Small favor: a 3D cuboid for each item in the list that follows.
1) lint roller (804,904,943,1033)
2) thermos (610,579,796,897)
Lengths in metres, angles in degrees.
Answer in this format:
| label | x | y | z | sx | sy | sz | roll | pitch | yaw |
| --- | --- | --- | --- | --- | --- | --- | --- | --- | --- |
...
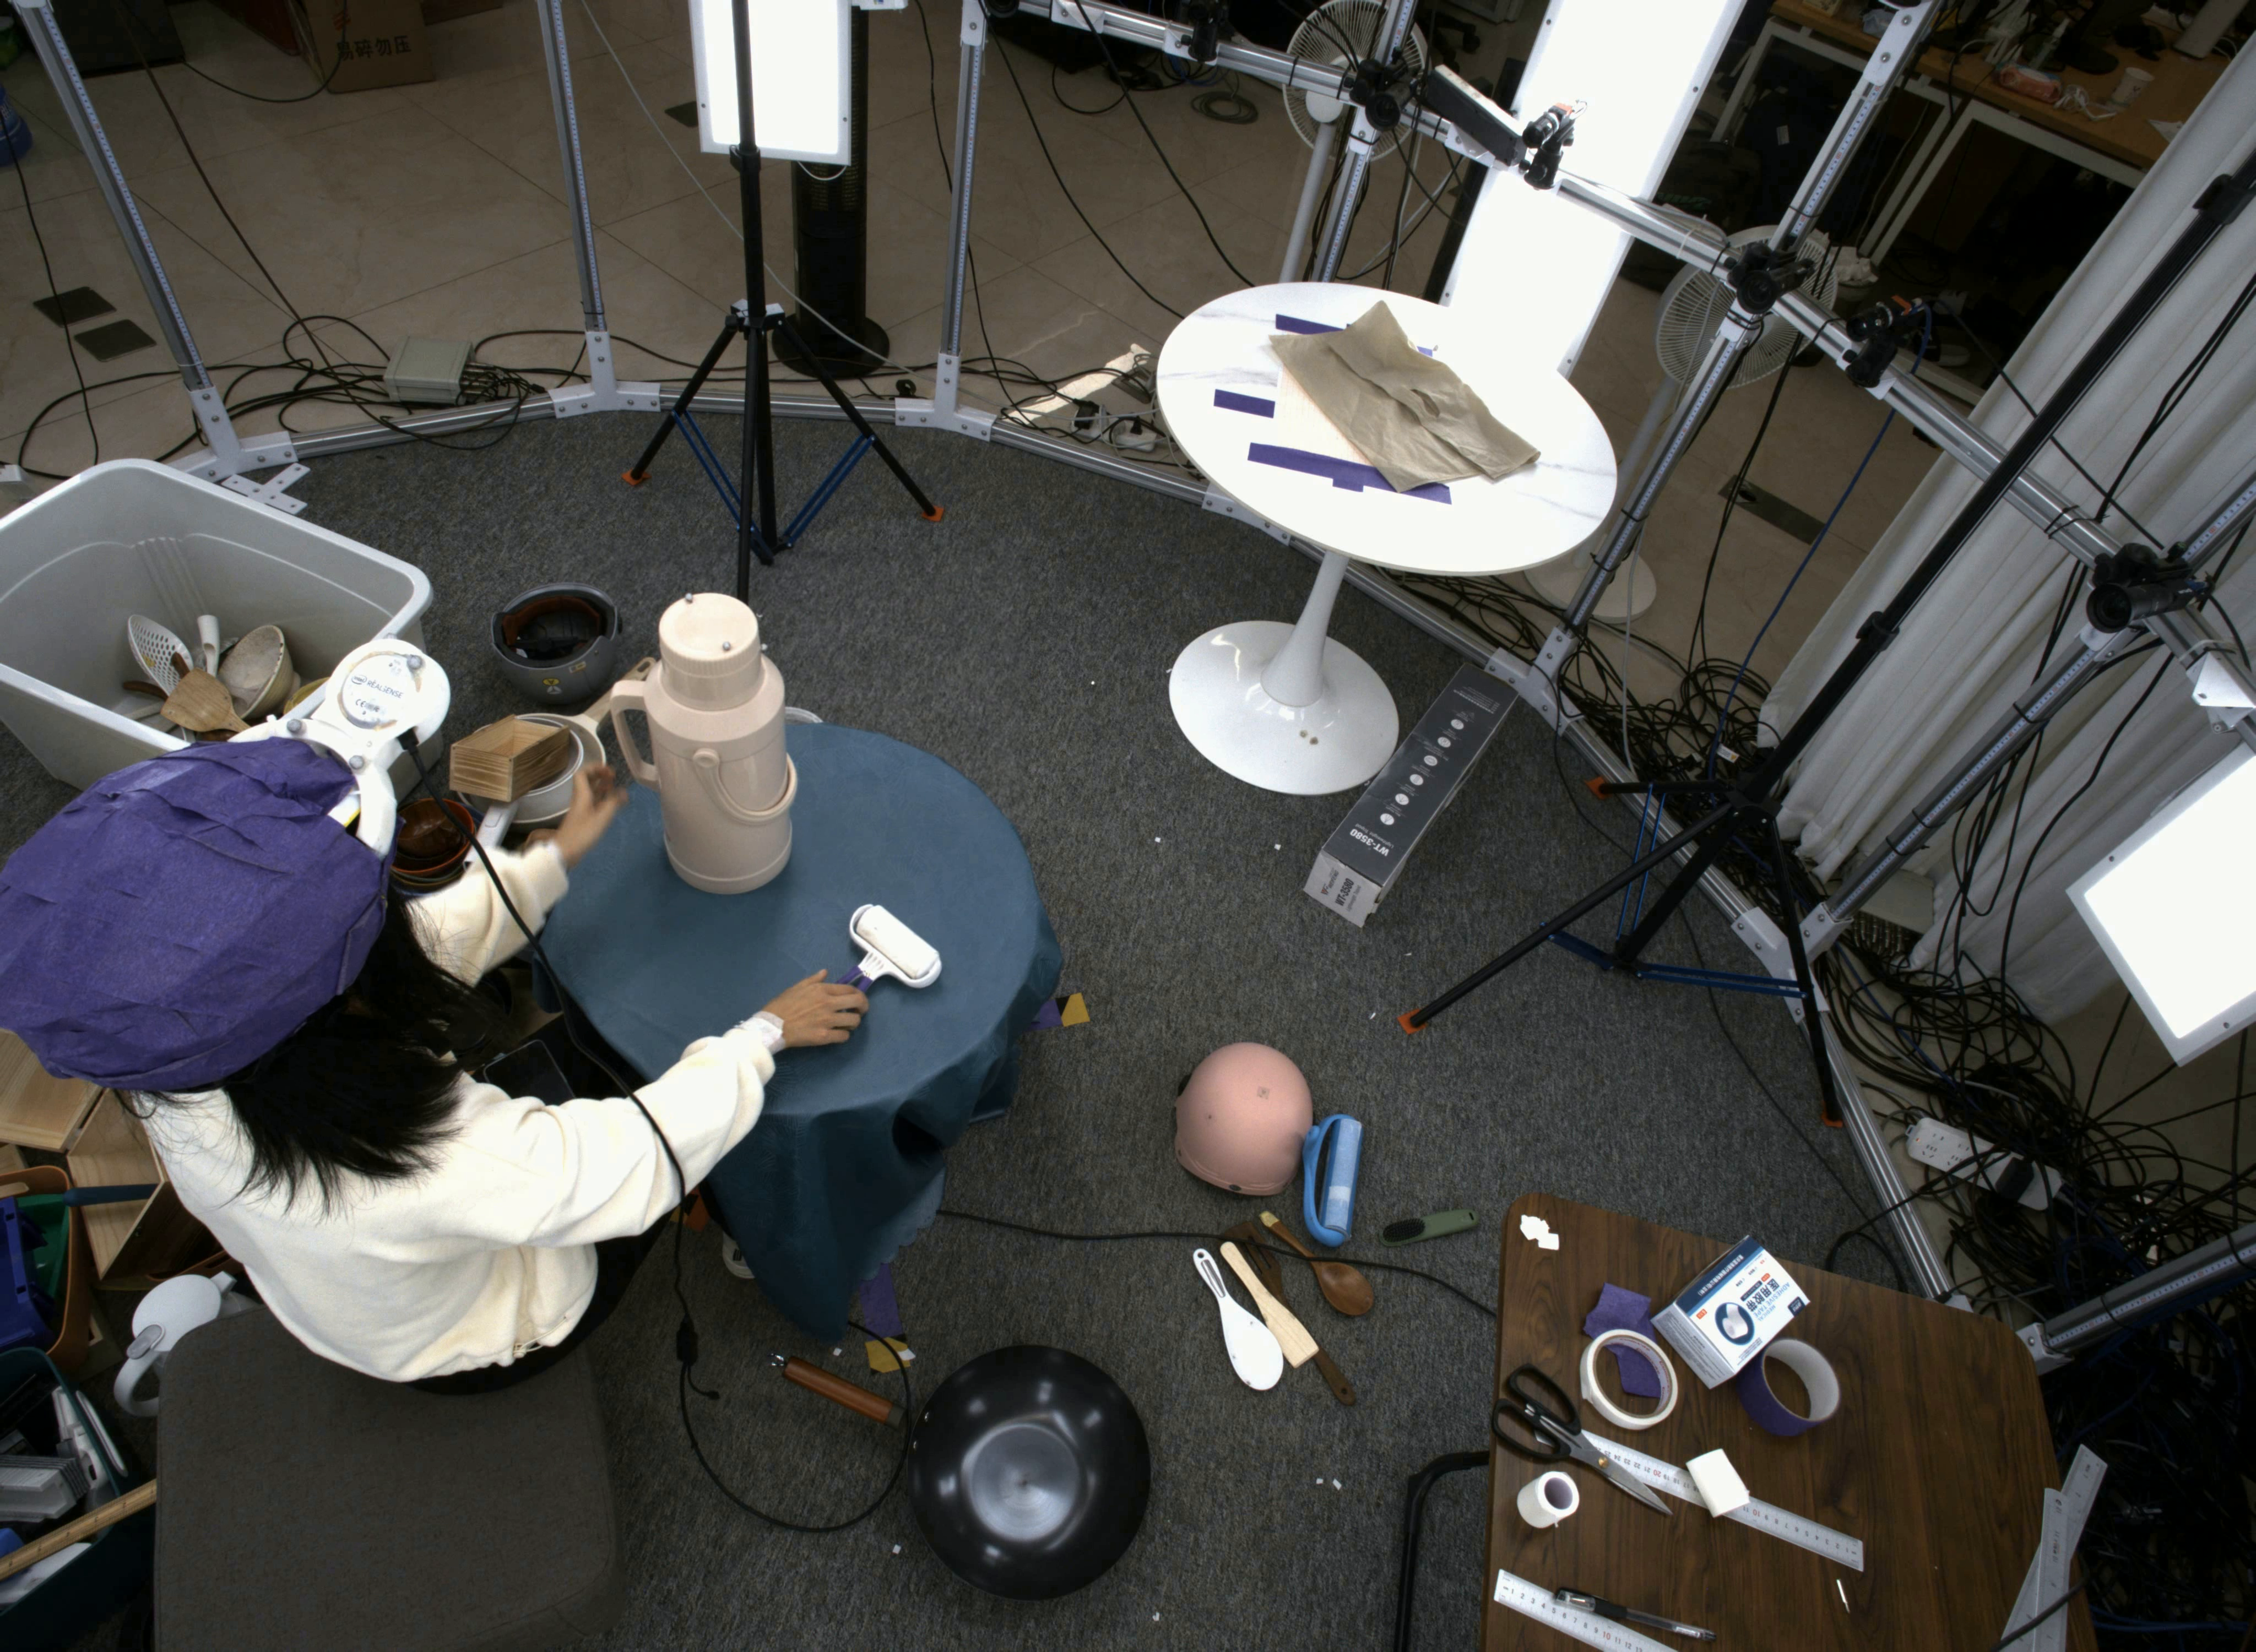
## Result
| label | x | y | z | sx | sy | sz | roll | pitch | yaw |
| --- | --- | --- | --- | --- | --- | --- | --- | --- | --- |
| lint roller | -0.327 | 0.178 | 1.580 | 0.130 | 0.051 | 0.181 | 39 | 51 | 14 |
| thermos | -0.499 | -0.101 | 1.518 | 0.207 | 0.415 | 0.172 | 2 | 52 | -10 |
